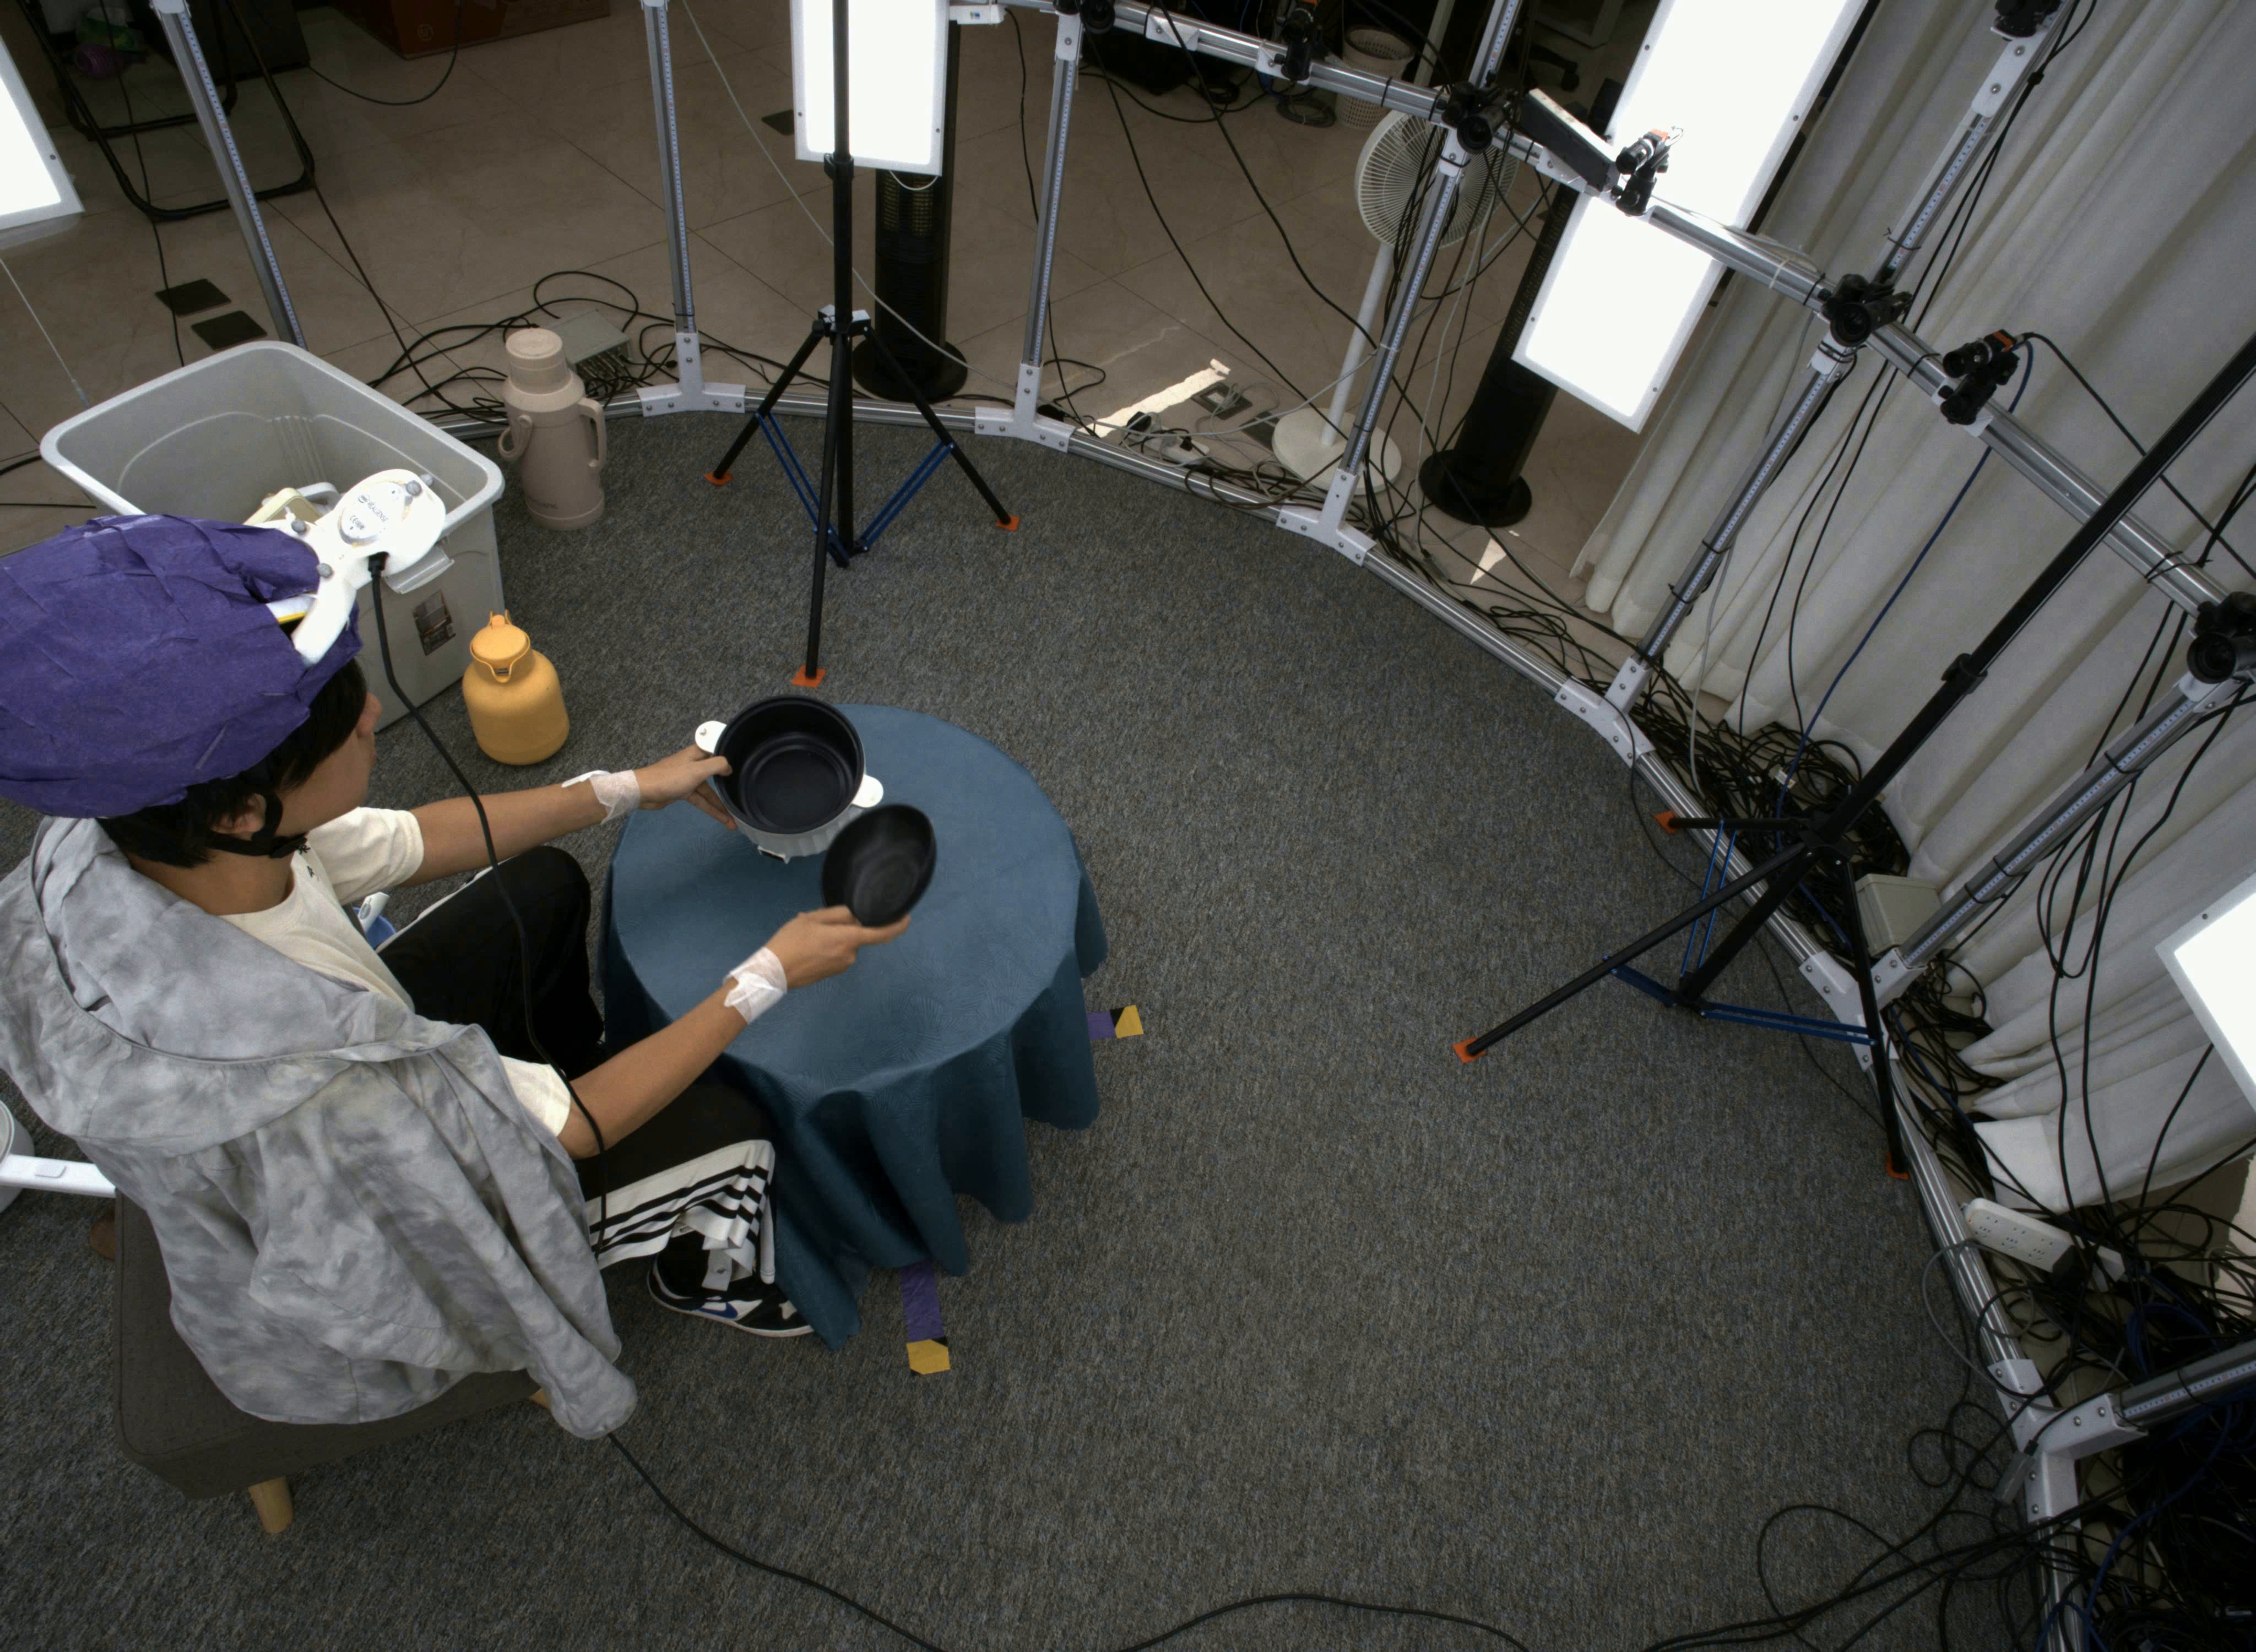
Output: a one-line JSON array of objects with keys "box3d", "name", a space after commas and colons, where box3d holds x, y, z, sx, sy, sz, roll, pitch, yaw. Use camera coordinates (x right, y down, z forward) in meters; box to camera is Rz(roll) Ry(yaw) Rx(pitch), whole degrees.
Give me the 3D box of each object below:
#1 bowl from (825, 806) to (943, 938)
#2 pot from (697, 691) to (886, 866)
[{"box3d": [-0.271, 0.060, 1.495, 0.134, 0.069, 0.168, 2, 57, 17], "name": "bowl"}, {"box3d": [-0.411, -0.061, 1.619, 0.239, 0.143, 0.190, 19, 73, -3], "name": "pot"}]
